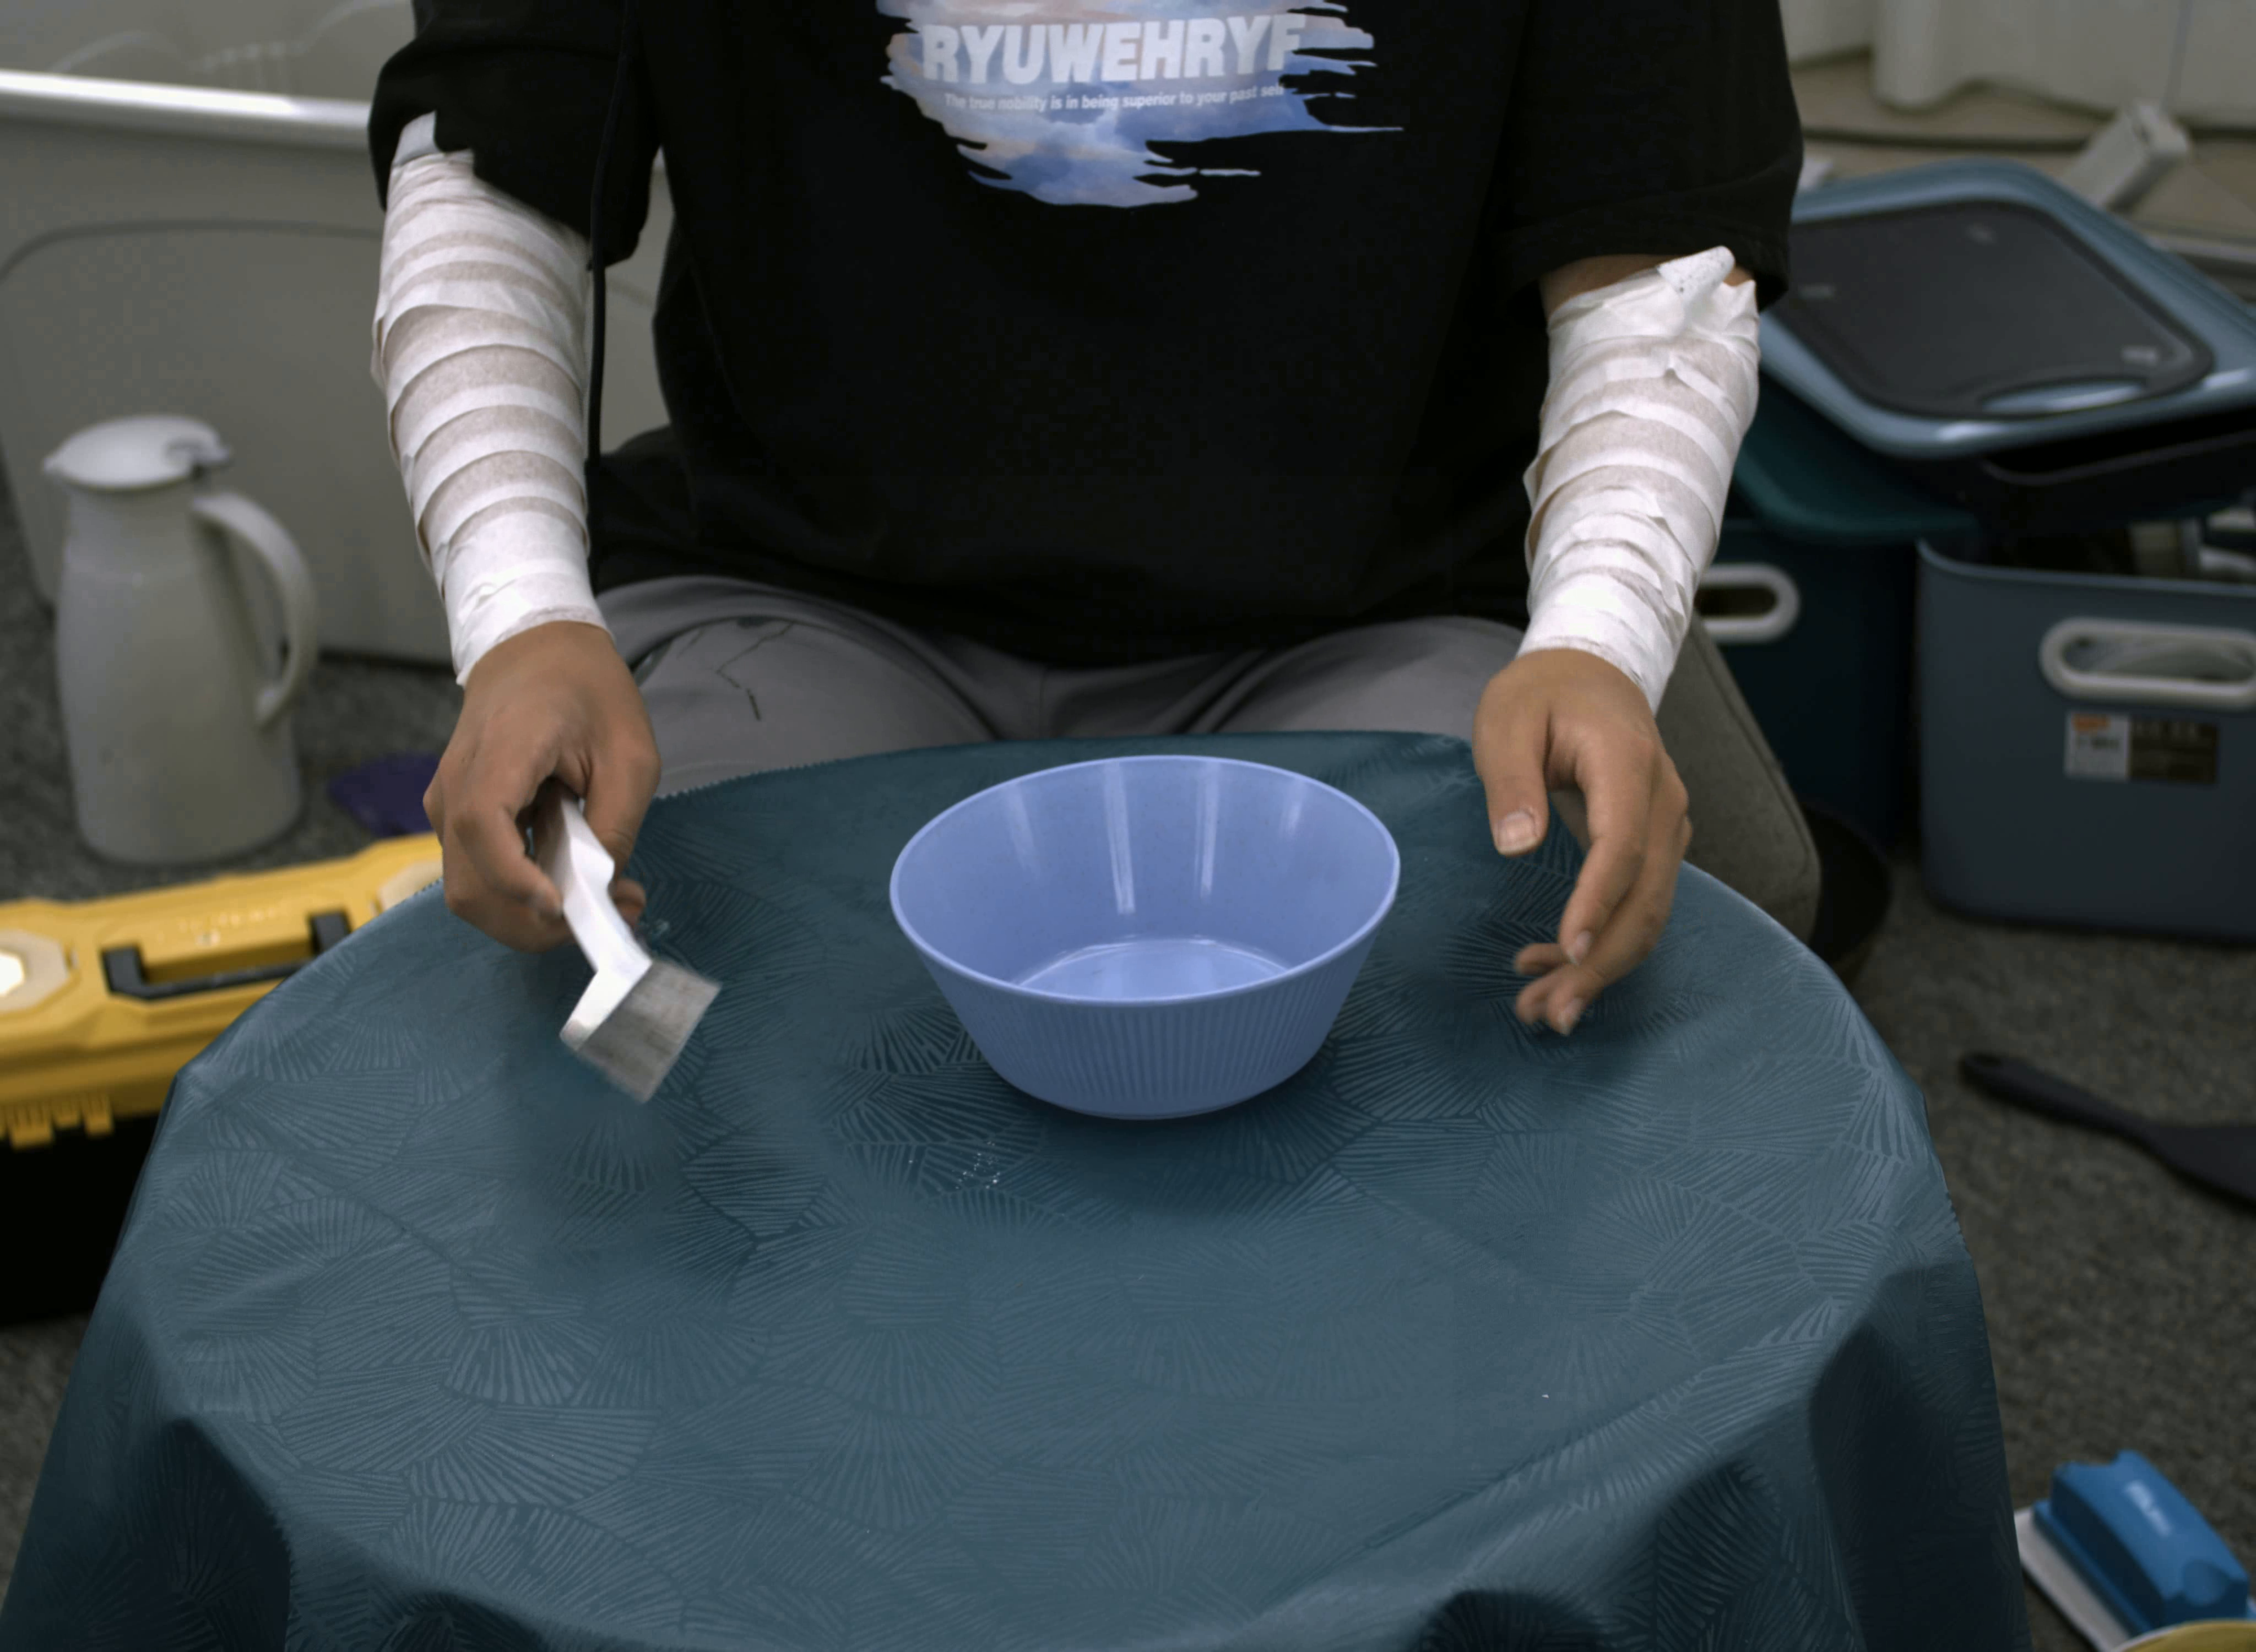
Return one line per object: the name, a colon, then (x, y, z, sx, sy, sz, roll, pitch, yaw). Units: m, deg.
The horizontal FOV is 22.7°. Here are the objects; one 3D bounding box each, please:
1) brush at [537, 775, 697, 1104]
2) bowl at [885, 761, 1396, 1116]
brush: (-0.177, 0.036, 1.939, 0.050, 0.034, 0.246, 17, 17, -12)
bowl: (0.005, 0.044, 1.935, 0.175, 0.069, 0.179, -2, 27, 1)
